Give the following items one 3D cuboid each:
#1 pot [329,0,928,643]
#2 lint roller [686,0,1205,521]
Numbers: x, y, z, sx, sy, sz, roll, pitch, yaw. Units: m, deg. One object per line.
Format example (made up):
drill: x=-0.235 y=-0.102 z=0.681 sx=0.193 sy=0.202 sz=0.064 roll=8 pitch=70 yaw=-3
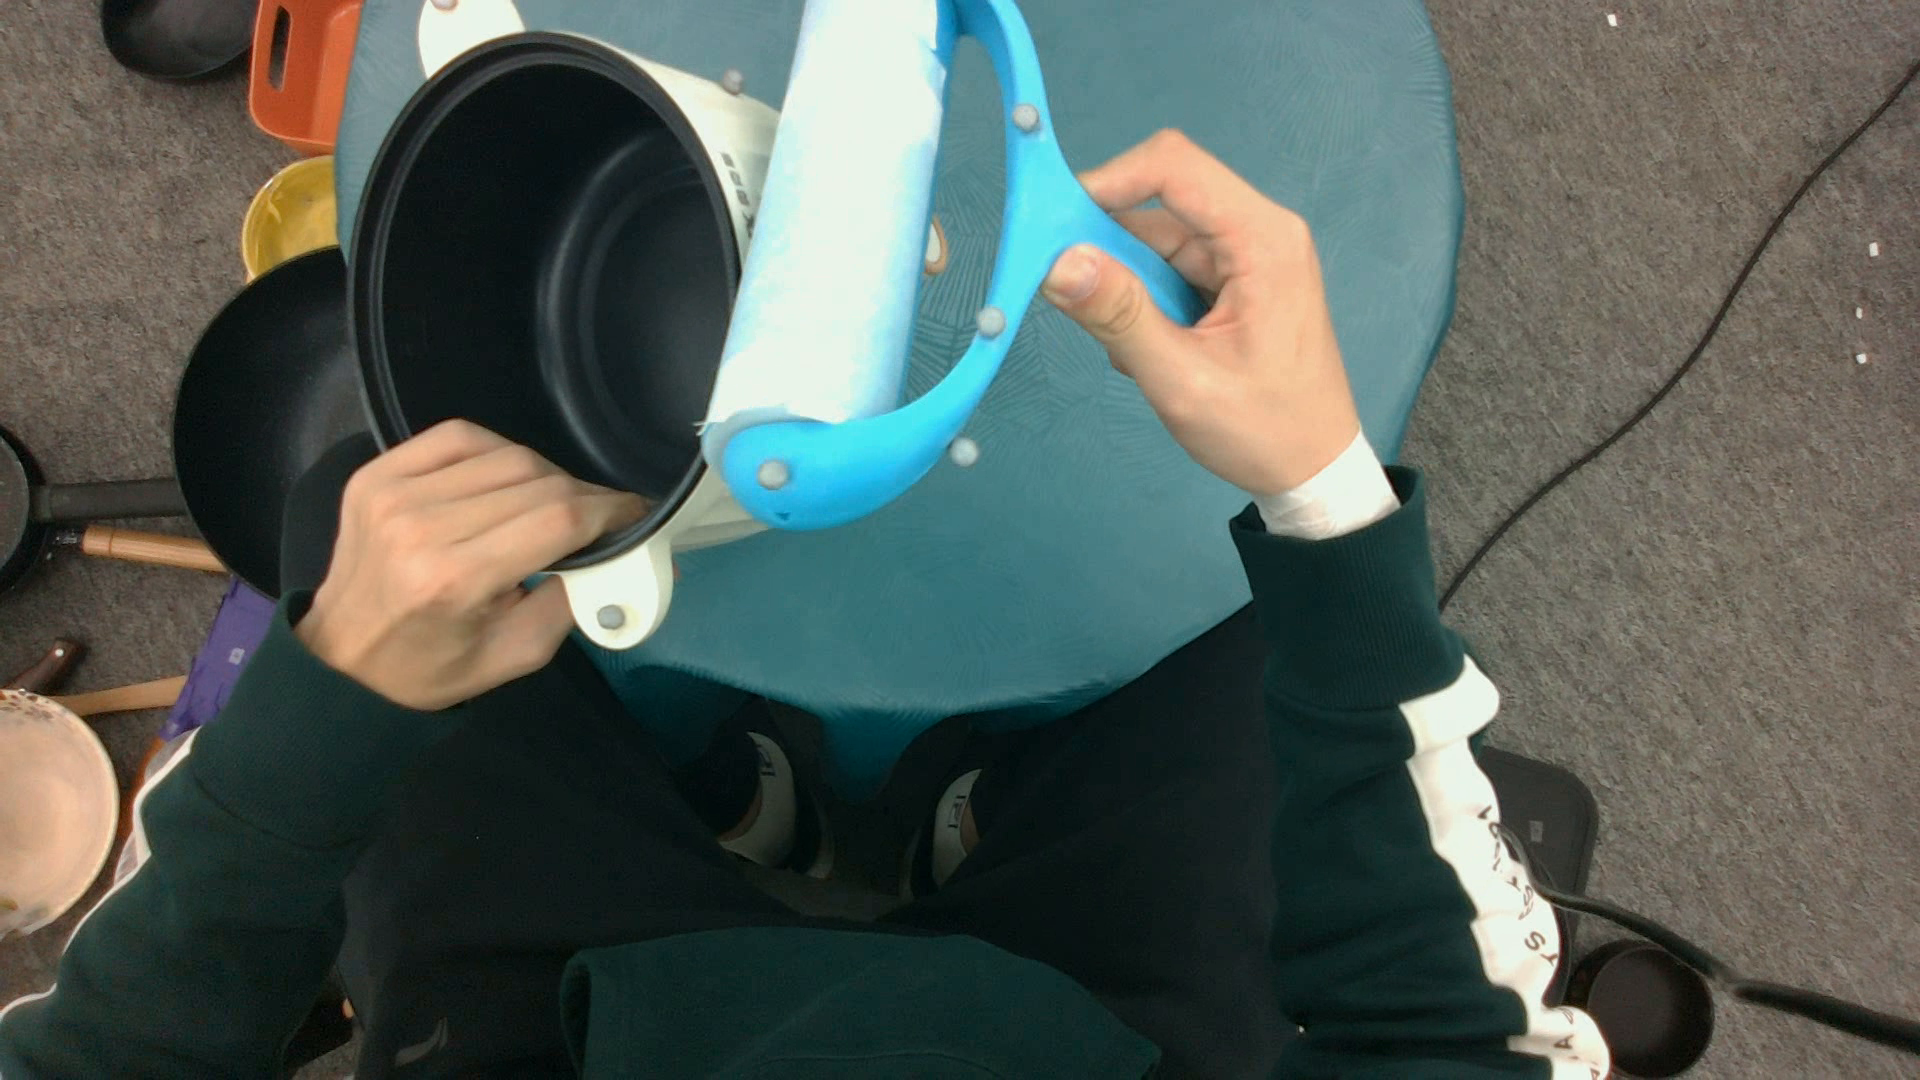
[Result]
pot: x=-0.118 y=-0.089 z=0.526 sx=0.190 sy=0.143 sz=0.240 roll=-19 pitch=88 yaw=31
lint roller: x=0.012 y=-0.095 z=0.454 sx=0.180 sy=0.067 sz=0.230 roll=11 pitch=56 yaw=-15
